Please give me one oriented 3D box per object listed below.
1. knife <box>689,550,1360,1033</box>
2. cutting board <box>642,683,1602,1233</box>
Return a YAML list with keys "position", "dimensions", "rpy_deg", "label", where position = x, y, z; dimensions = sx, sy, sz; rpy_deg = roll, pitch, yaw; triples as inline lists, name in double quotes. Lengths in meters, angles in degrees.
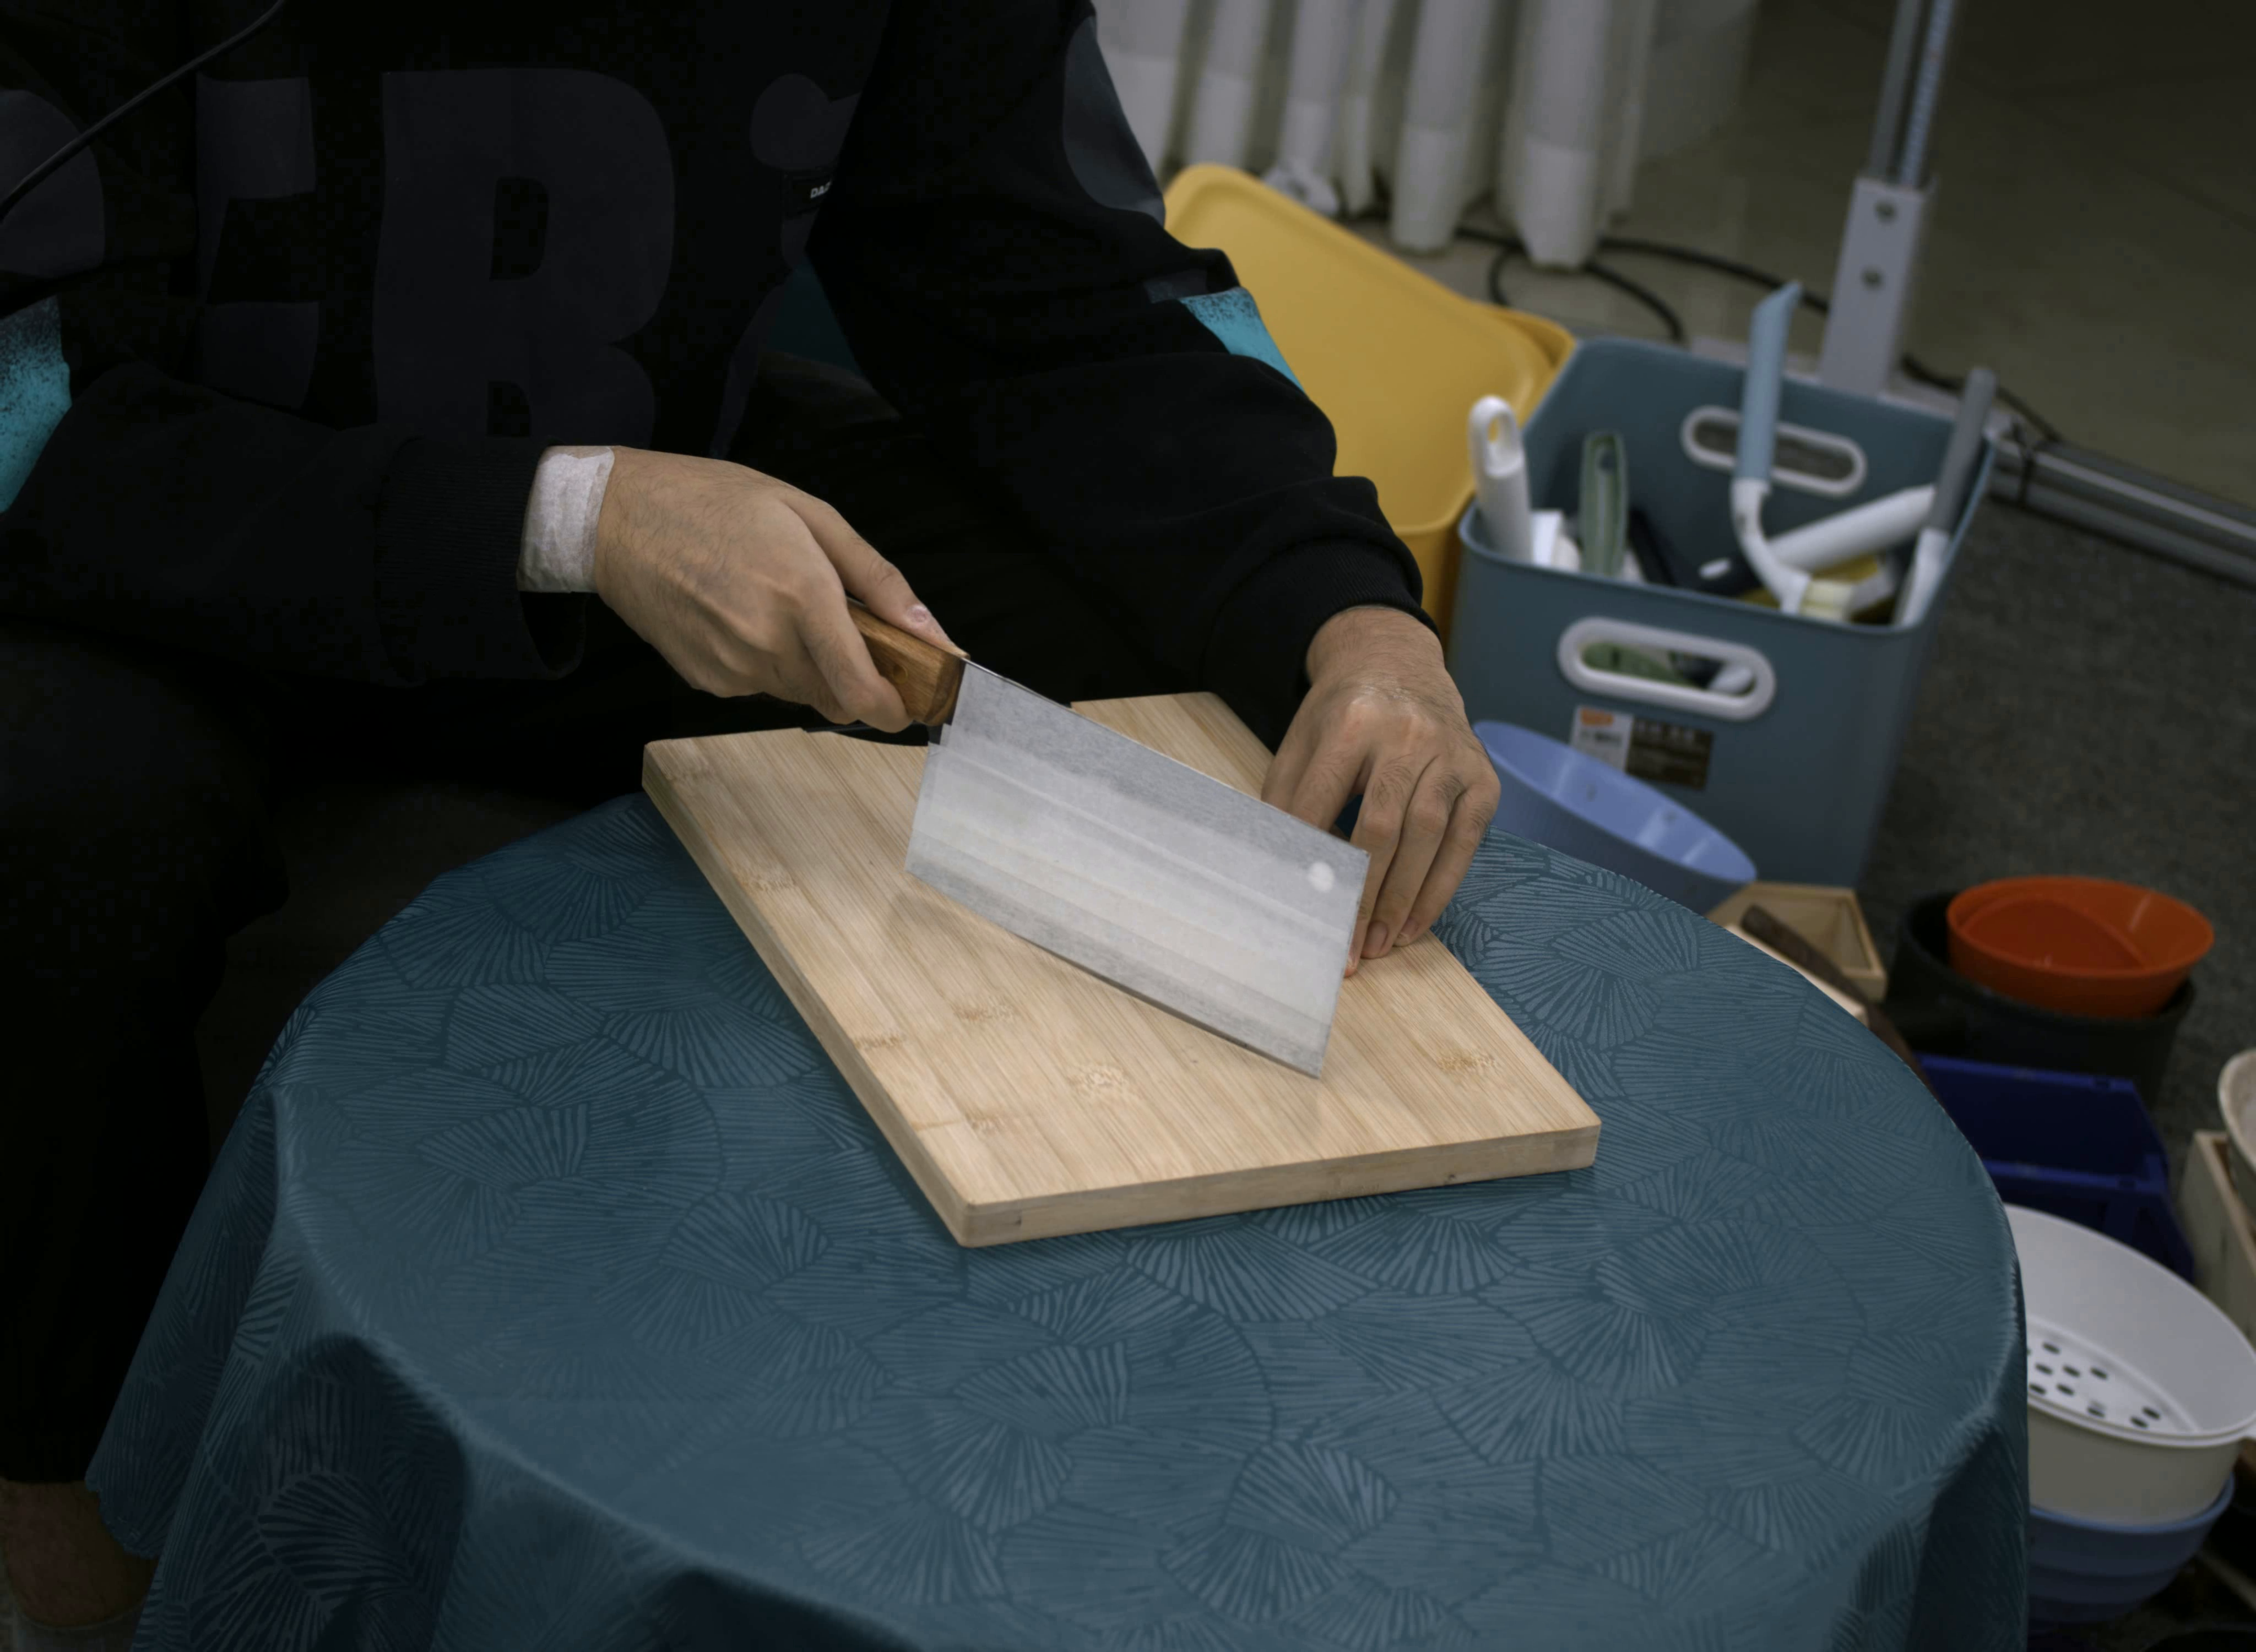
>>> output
- position: [-0.044, -0.010, 1.902]
  dimensions: [0.308, 0.093, 0.021]
  rpy_deg: [26, 27, 30]
  label: "knife"
- position: [-0.011, 0.041, 1.942]
  dimensions: [0.249, 0.023, 0.352]
  rpy_deg: [-6, 30, -23]
  label: "cutting board"
